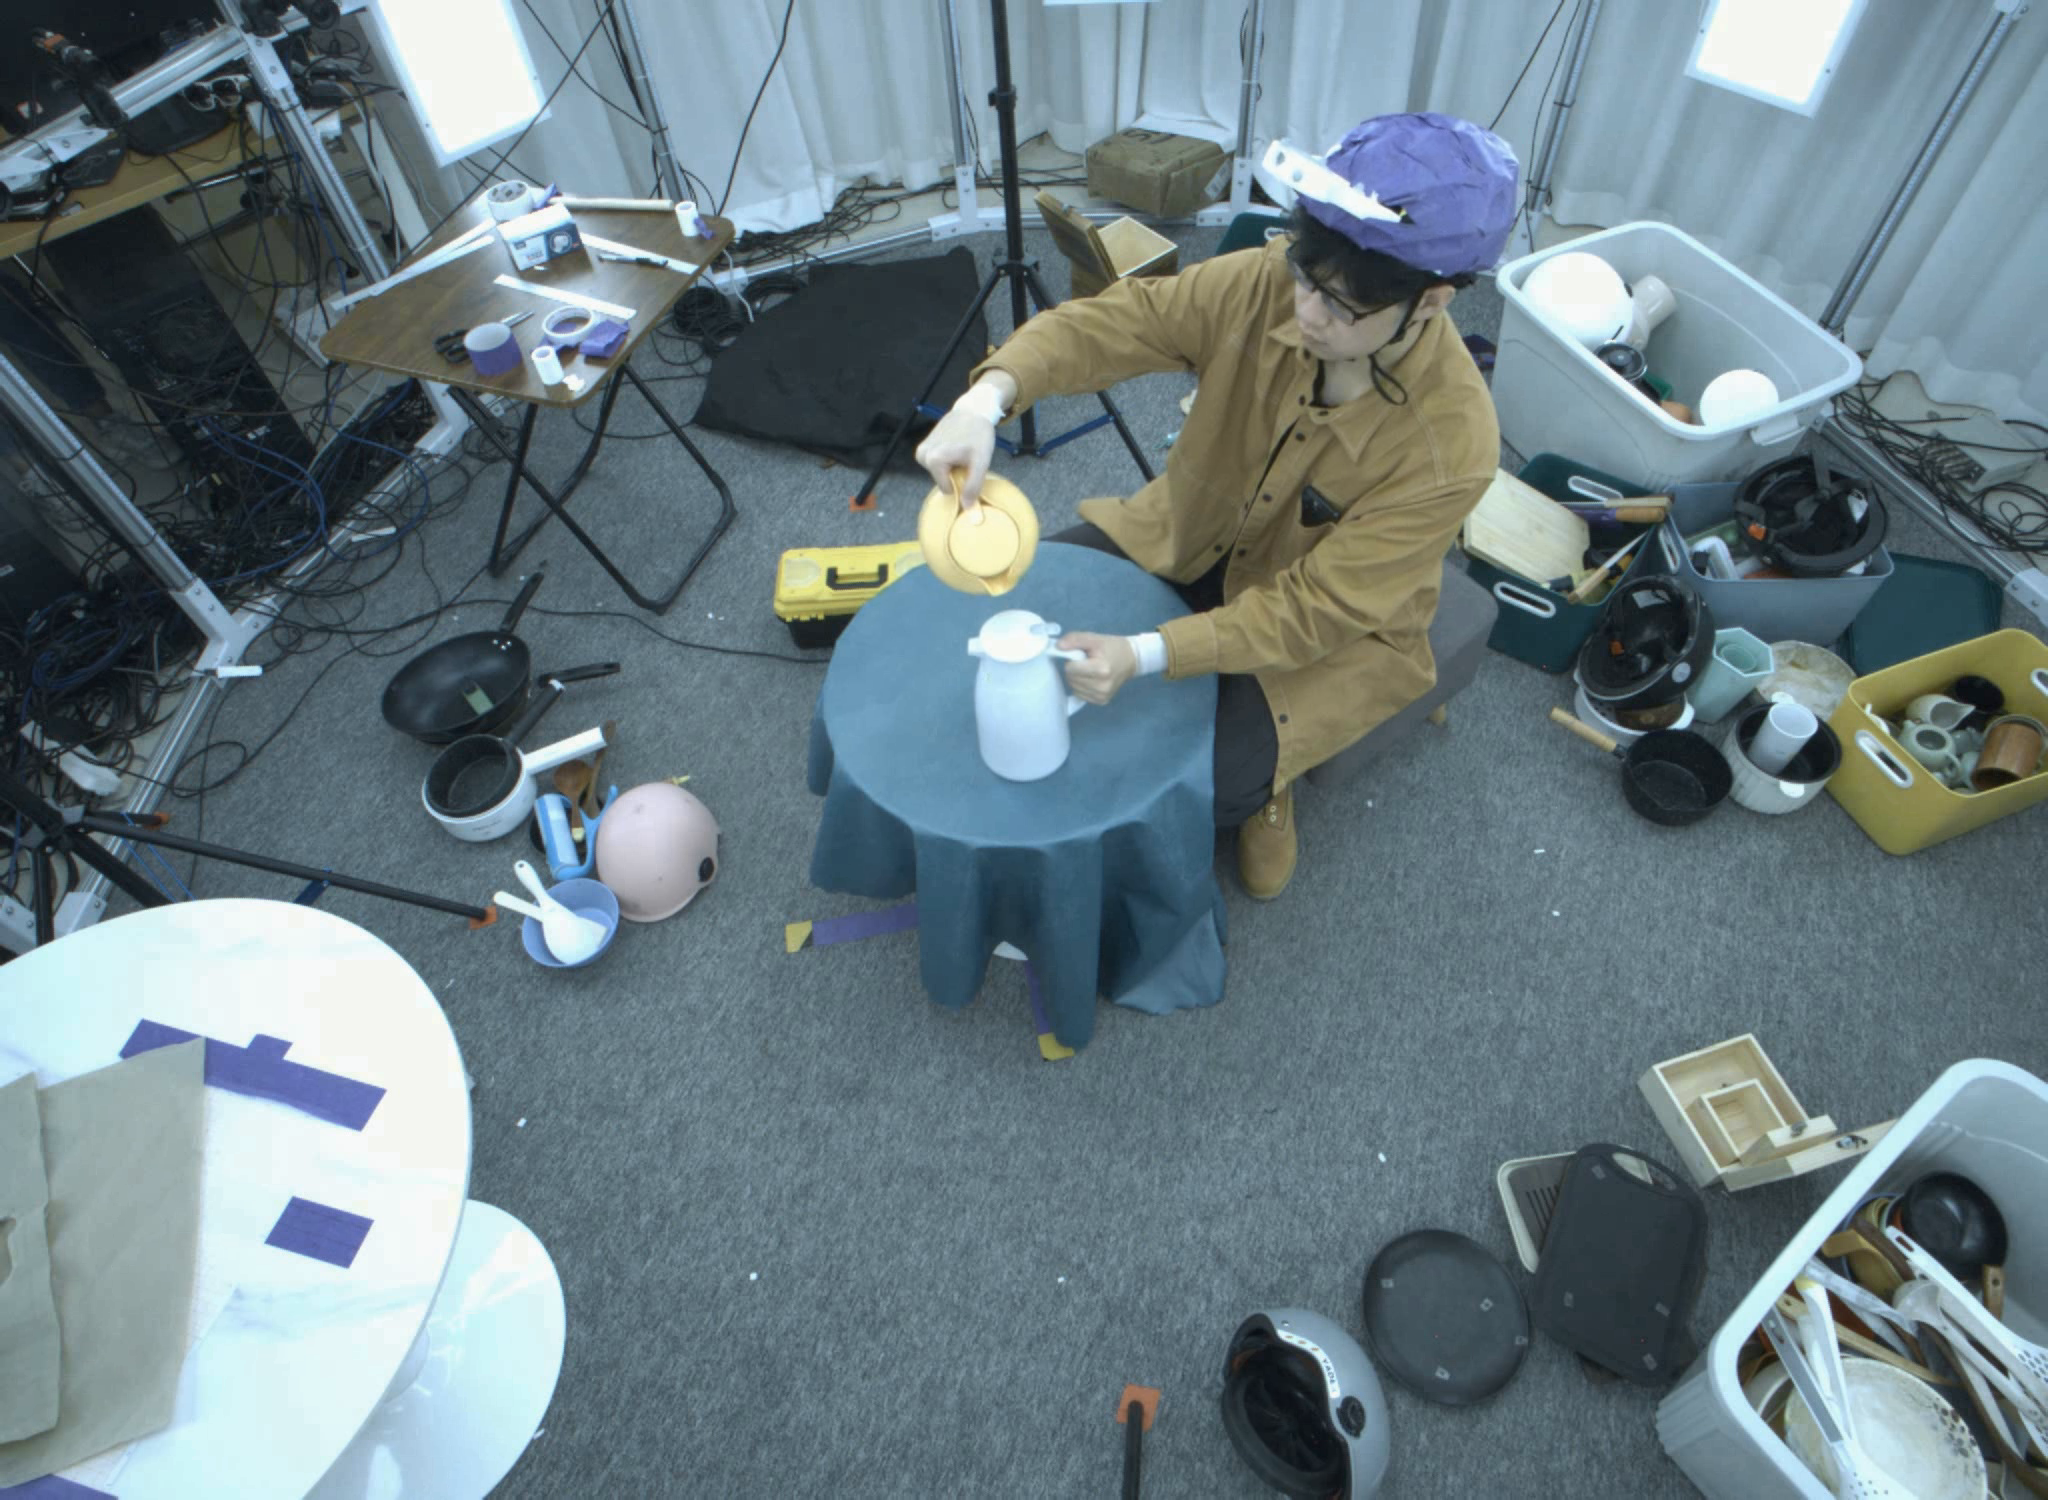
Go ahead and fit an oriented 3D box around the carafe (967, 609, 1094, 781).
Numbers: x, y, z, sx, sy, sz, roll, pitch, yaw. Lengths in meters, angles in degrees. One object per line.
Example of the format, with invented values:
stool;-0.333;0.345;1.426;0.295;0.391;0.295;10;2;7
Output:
carafe;0.012;-0.083;1.689;0.168;0.251;0.131;-4;54;0

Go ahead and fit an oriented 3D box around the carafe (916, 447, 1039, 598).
carafe;-0.067;-0.308;1.632;0.164;0.204;0.257;-19;17;-3
